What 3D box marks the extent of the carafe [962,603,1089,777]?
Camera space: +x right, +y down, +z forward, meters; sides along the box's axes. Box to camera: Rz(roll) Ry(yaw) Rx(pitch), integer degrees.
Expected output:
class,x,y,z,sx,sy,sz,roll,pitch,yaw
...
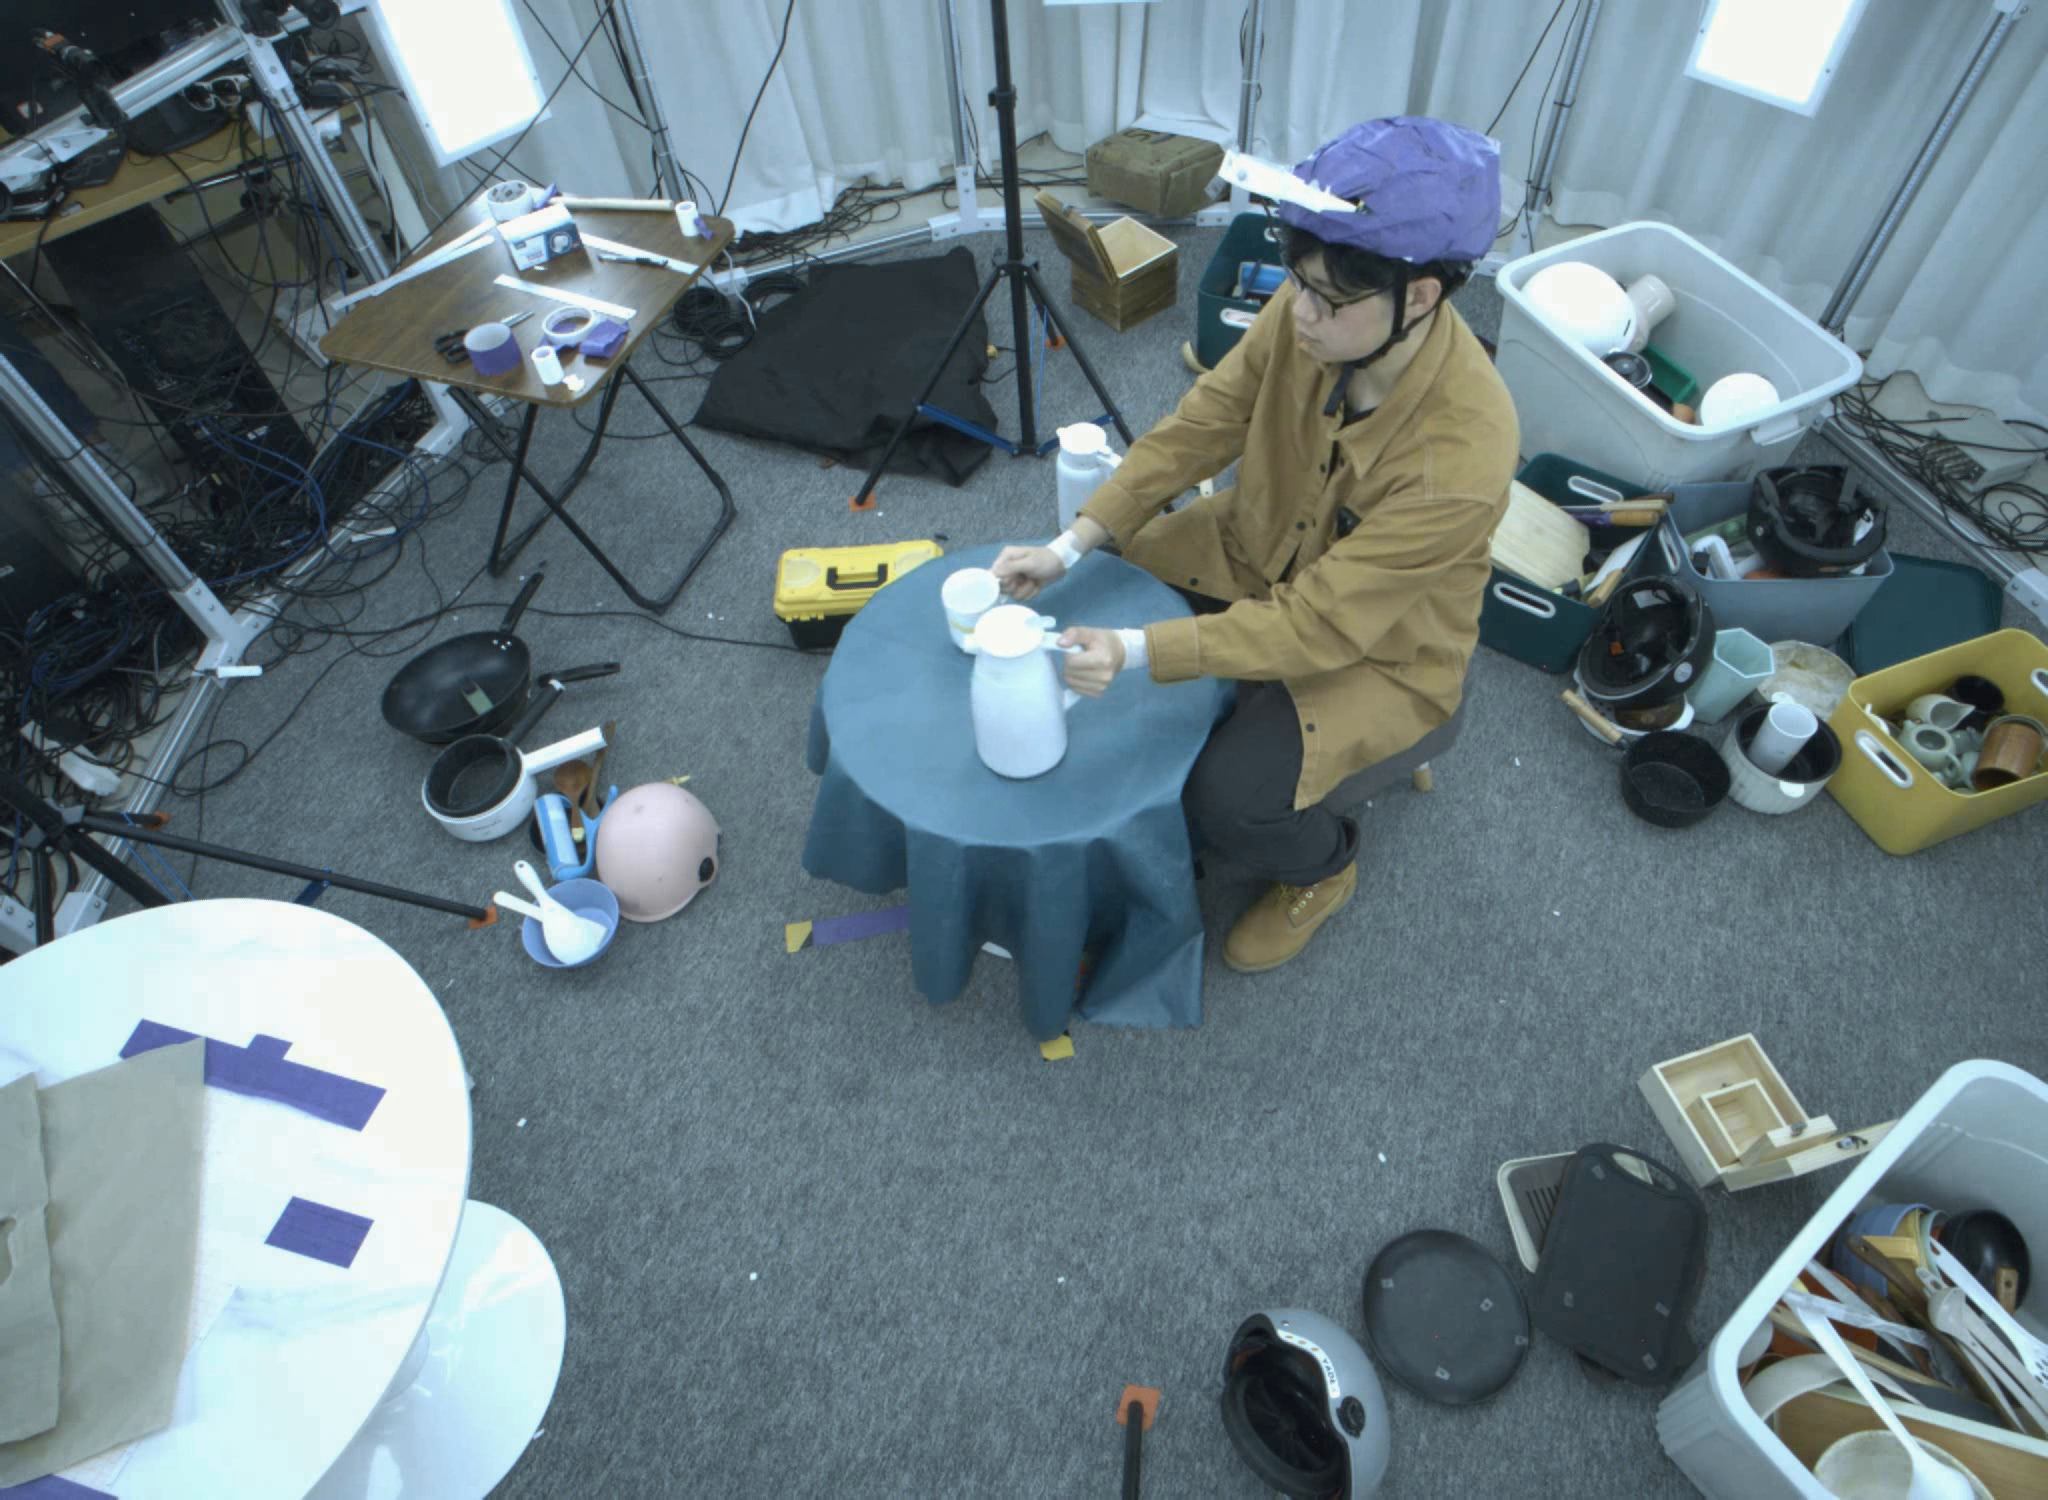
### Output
class,x,y,z,sx,sy,sz,roll,pitch,yaw
carafe,0.006,-0.091,1.689,0.168,0.251,0.131,-7,53,-2

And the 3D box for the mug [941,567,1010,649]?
class,x,y,z,sx,sy,sz,roll,pitch,yaw
mug,-0.067,-0.223,1.868,0.083,0.103,0.119,36,67,23
